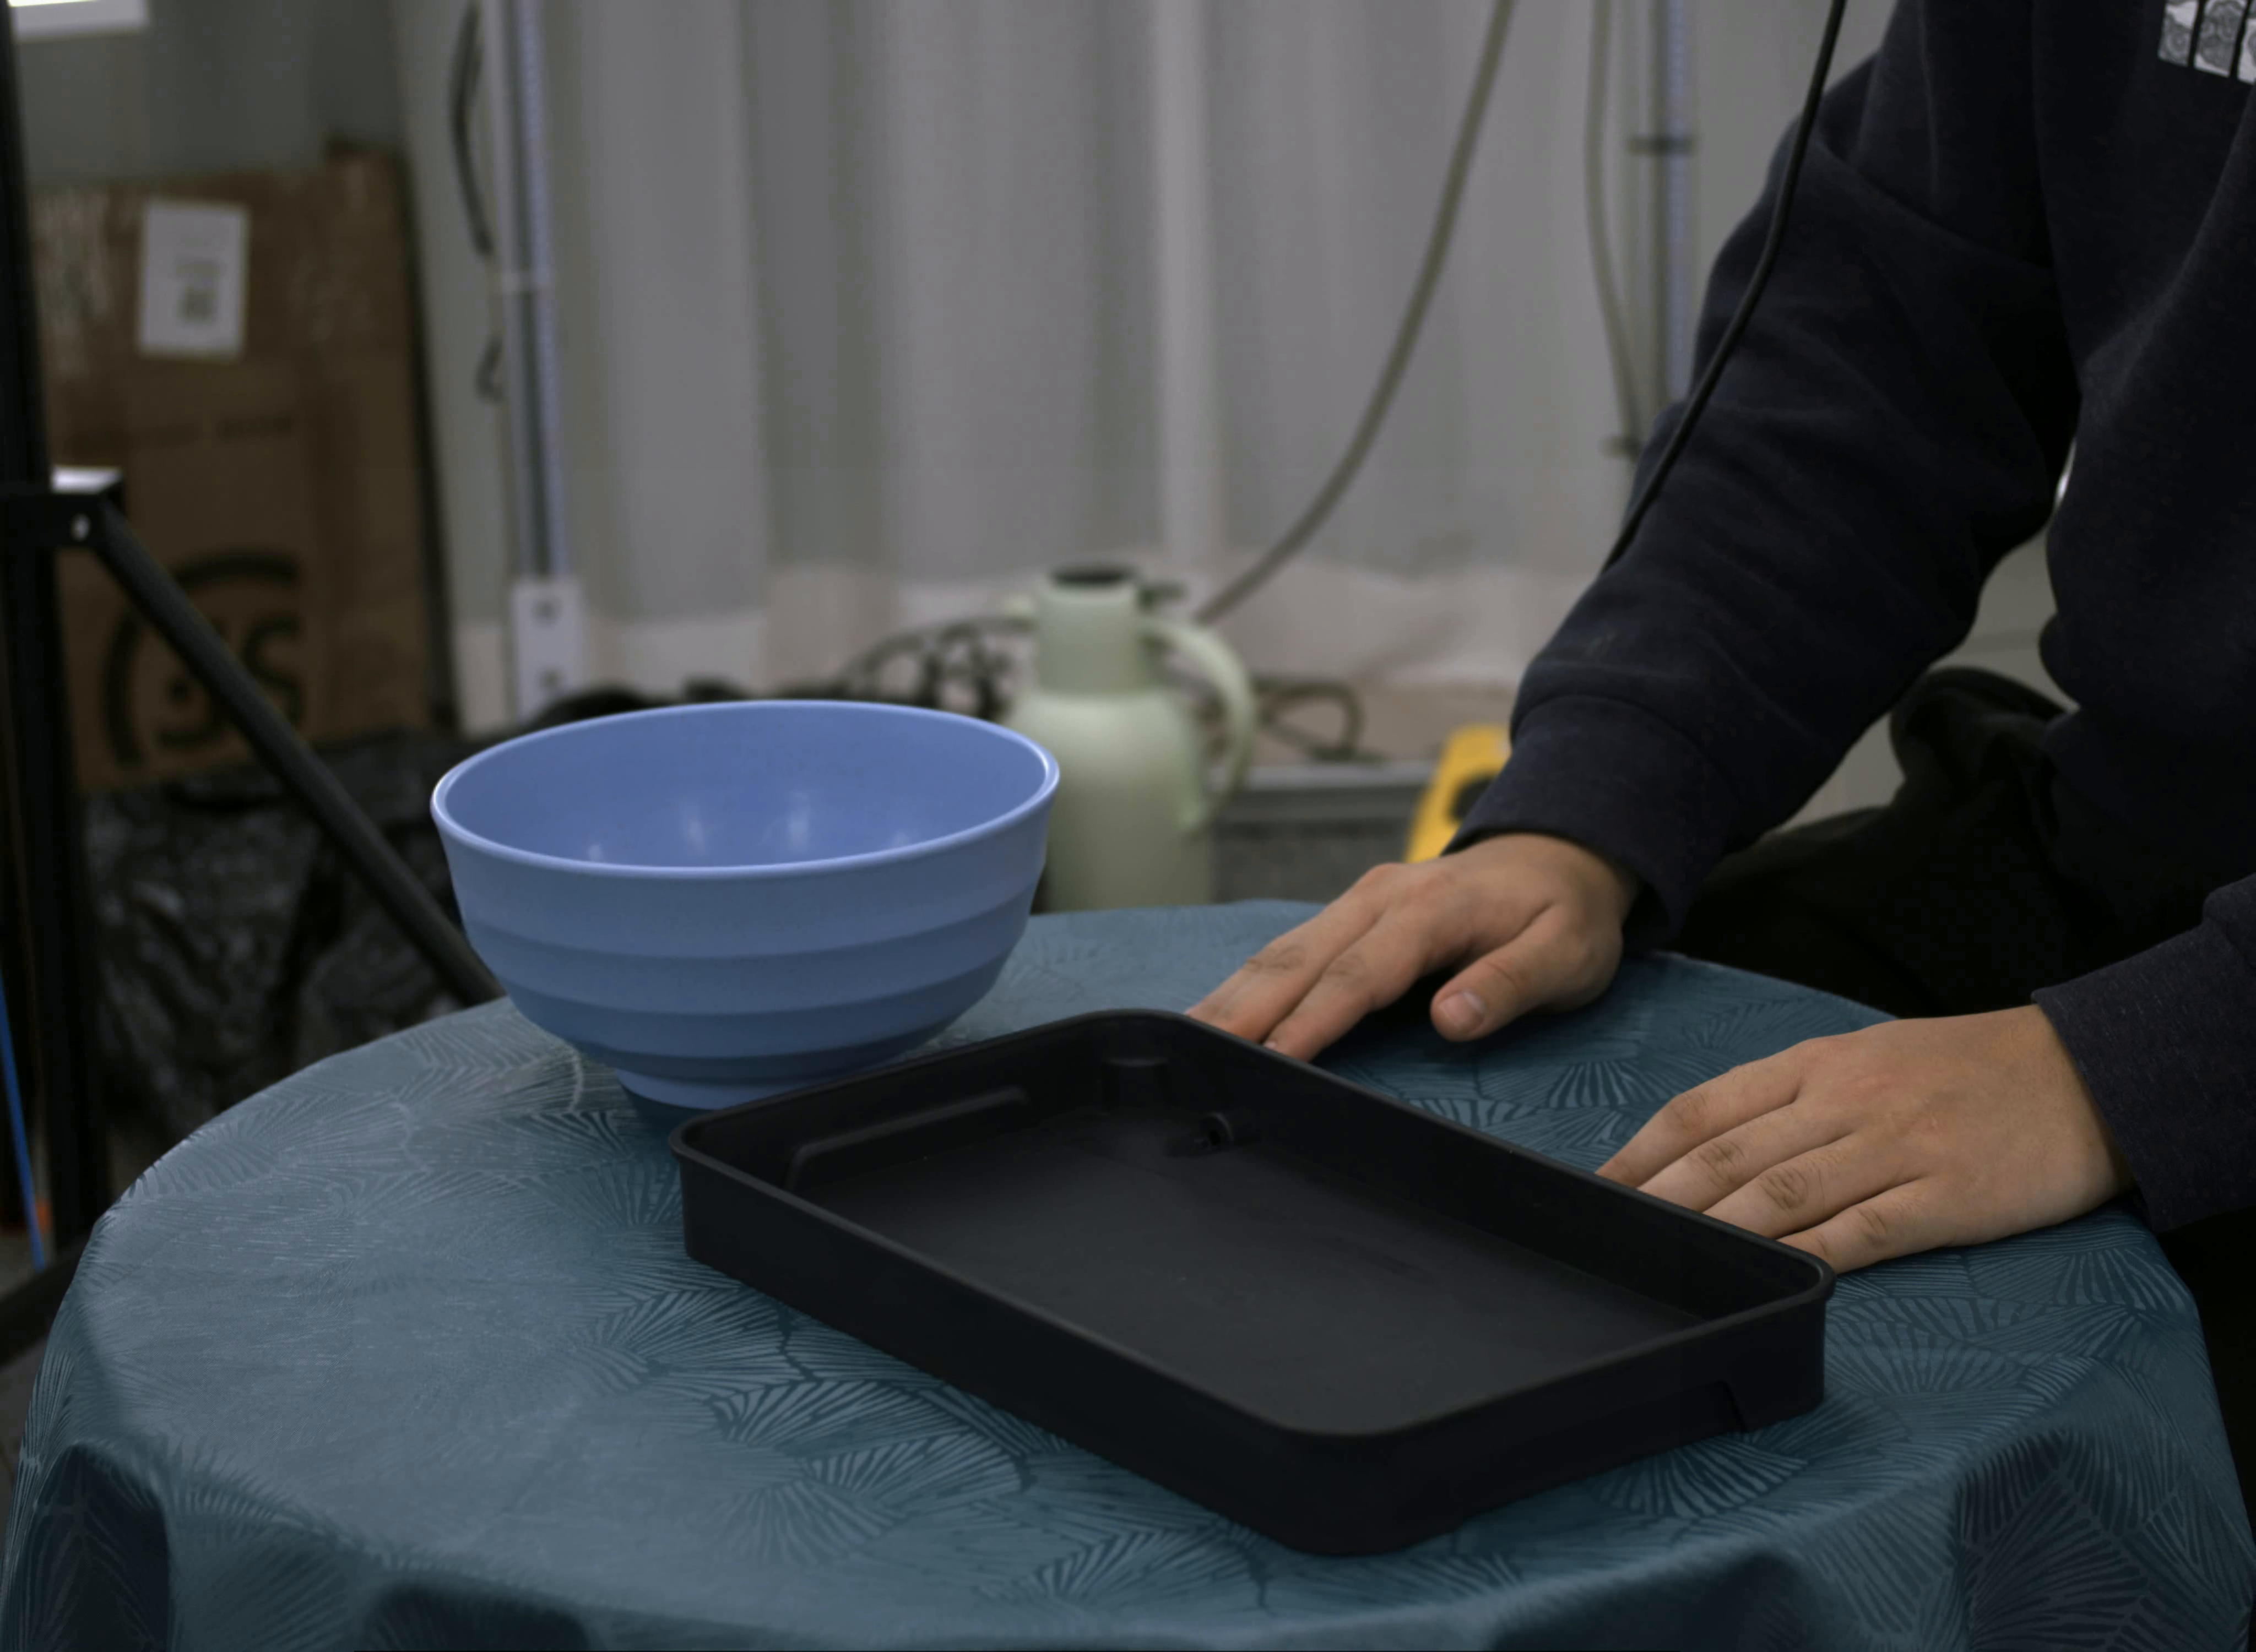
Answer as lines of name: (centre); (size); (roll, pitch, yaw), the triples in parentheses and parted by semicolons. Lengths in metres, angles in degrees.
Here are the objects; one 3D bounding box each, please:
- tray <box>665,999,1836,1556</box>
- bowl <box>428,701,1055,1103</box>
tray: (0.027, 0.116, 1.454); (0.180, 0.037, 0.325); (-13, 19, -34)
bowl: (-0.118, 0.028, 1.674); (0.195, 0.095, 0.197); (-4, 14, 0)
